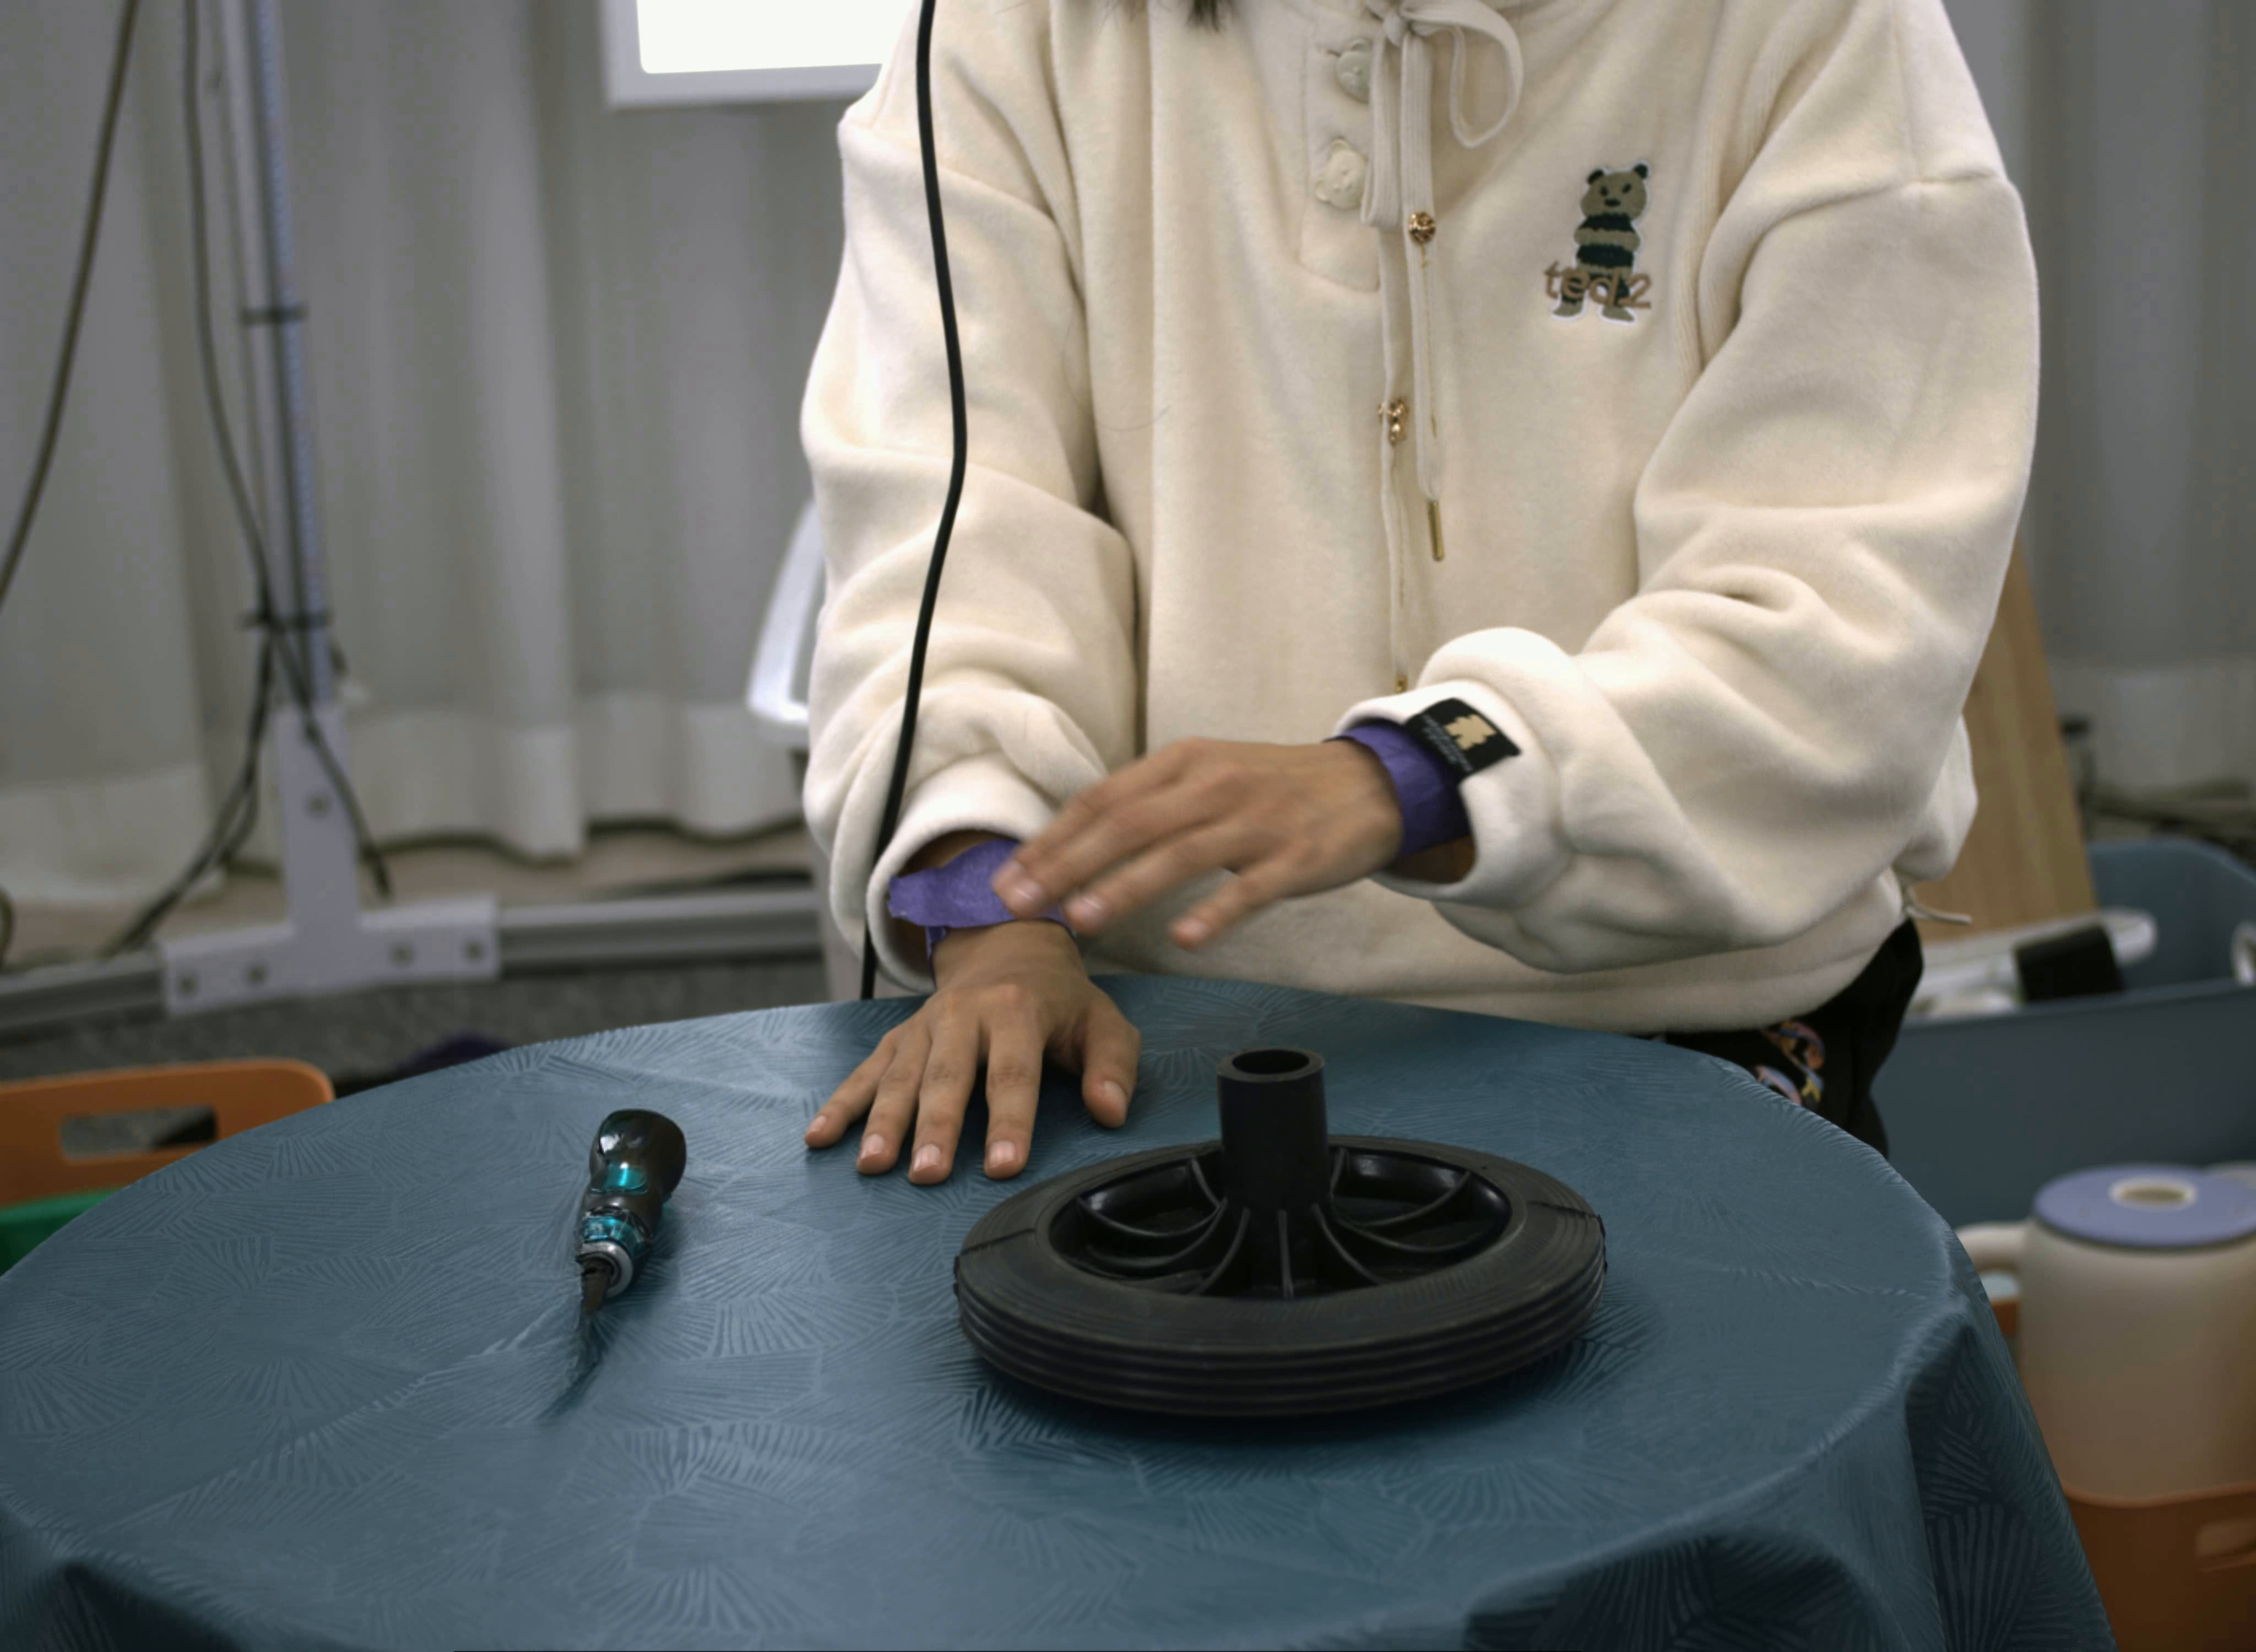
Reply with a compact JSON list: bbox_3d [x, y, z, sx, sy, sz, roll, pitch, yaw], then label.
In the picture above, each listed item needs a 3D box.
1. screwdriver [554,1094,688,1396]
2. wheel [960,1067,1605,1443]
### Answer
[{"bbox_3d":[-0.158,0.129,1.651,0.033,0.033,0.191,-2,20,4],"label":"screwdriver"},{"bbox_3d":[0.042,0.112,1.573,0.188,0.079,0.190,7,20,34],"label":"wheel"}]
